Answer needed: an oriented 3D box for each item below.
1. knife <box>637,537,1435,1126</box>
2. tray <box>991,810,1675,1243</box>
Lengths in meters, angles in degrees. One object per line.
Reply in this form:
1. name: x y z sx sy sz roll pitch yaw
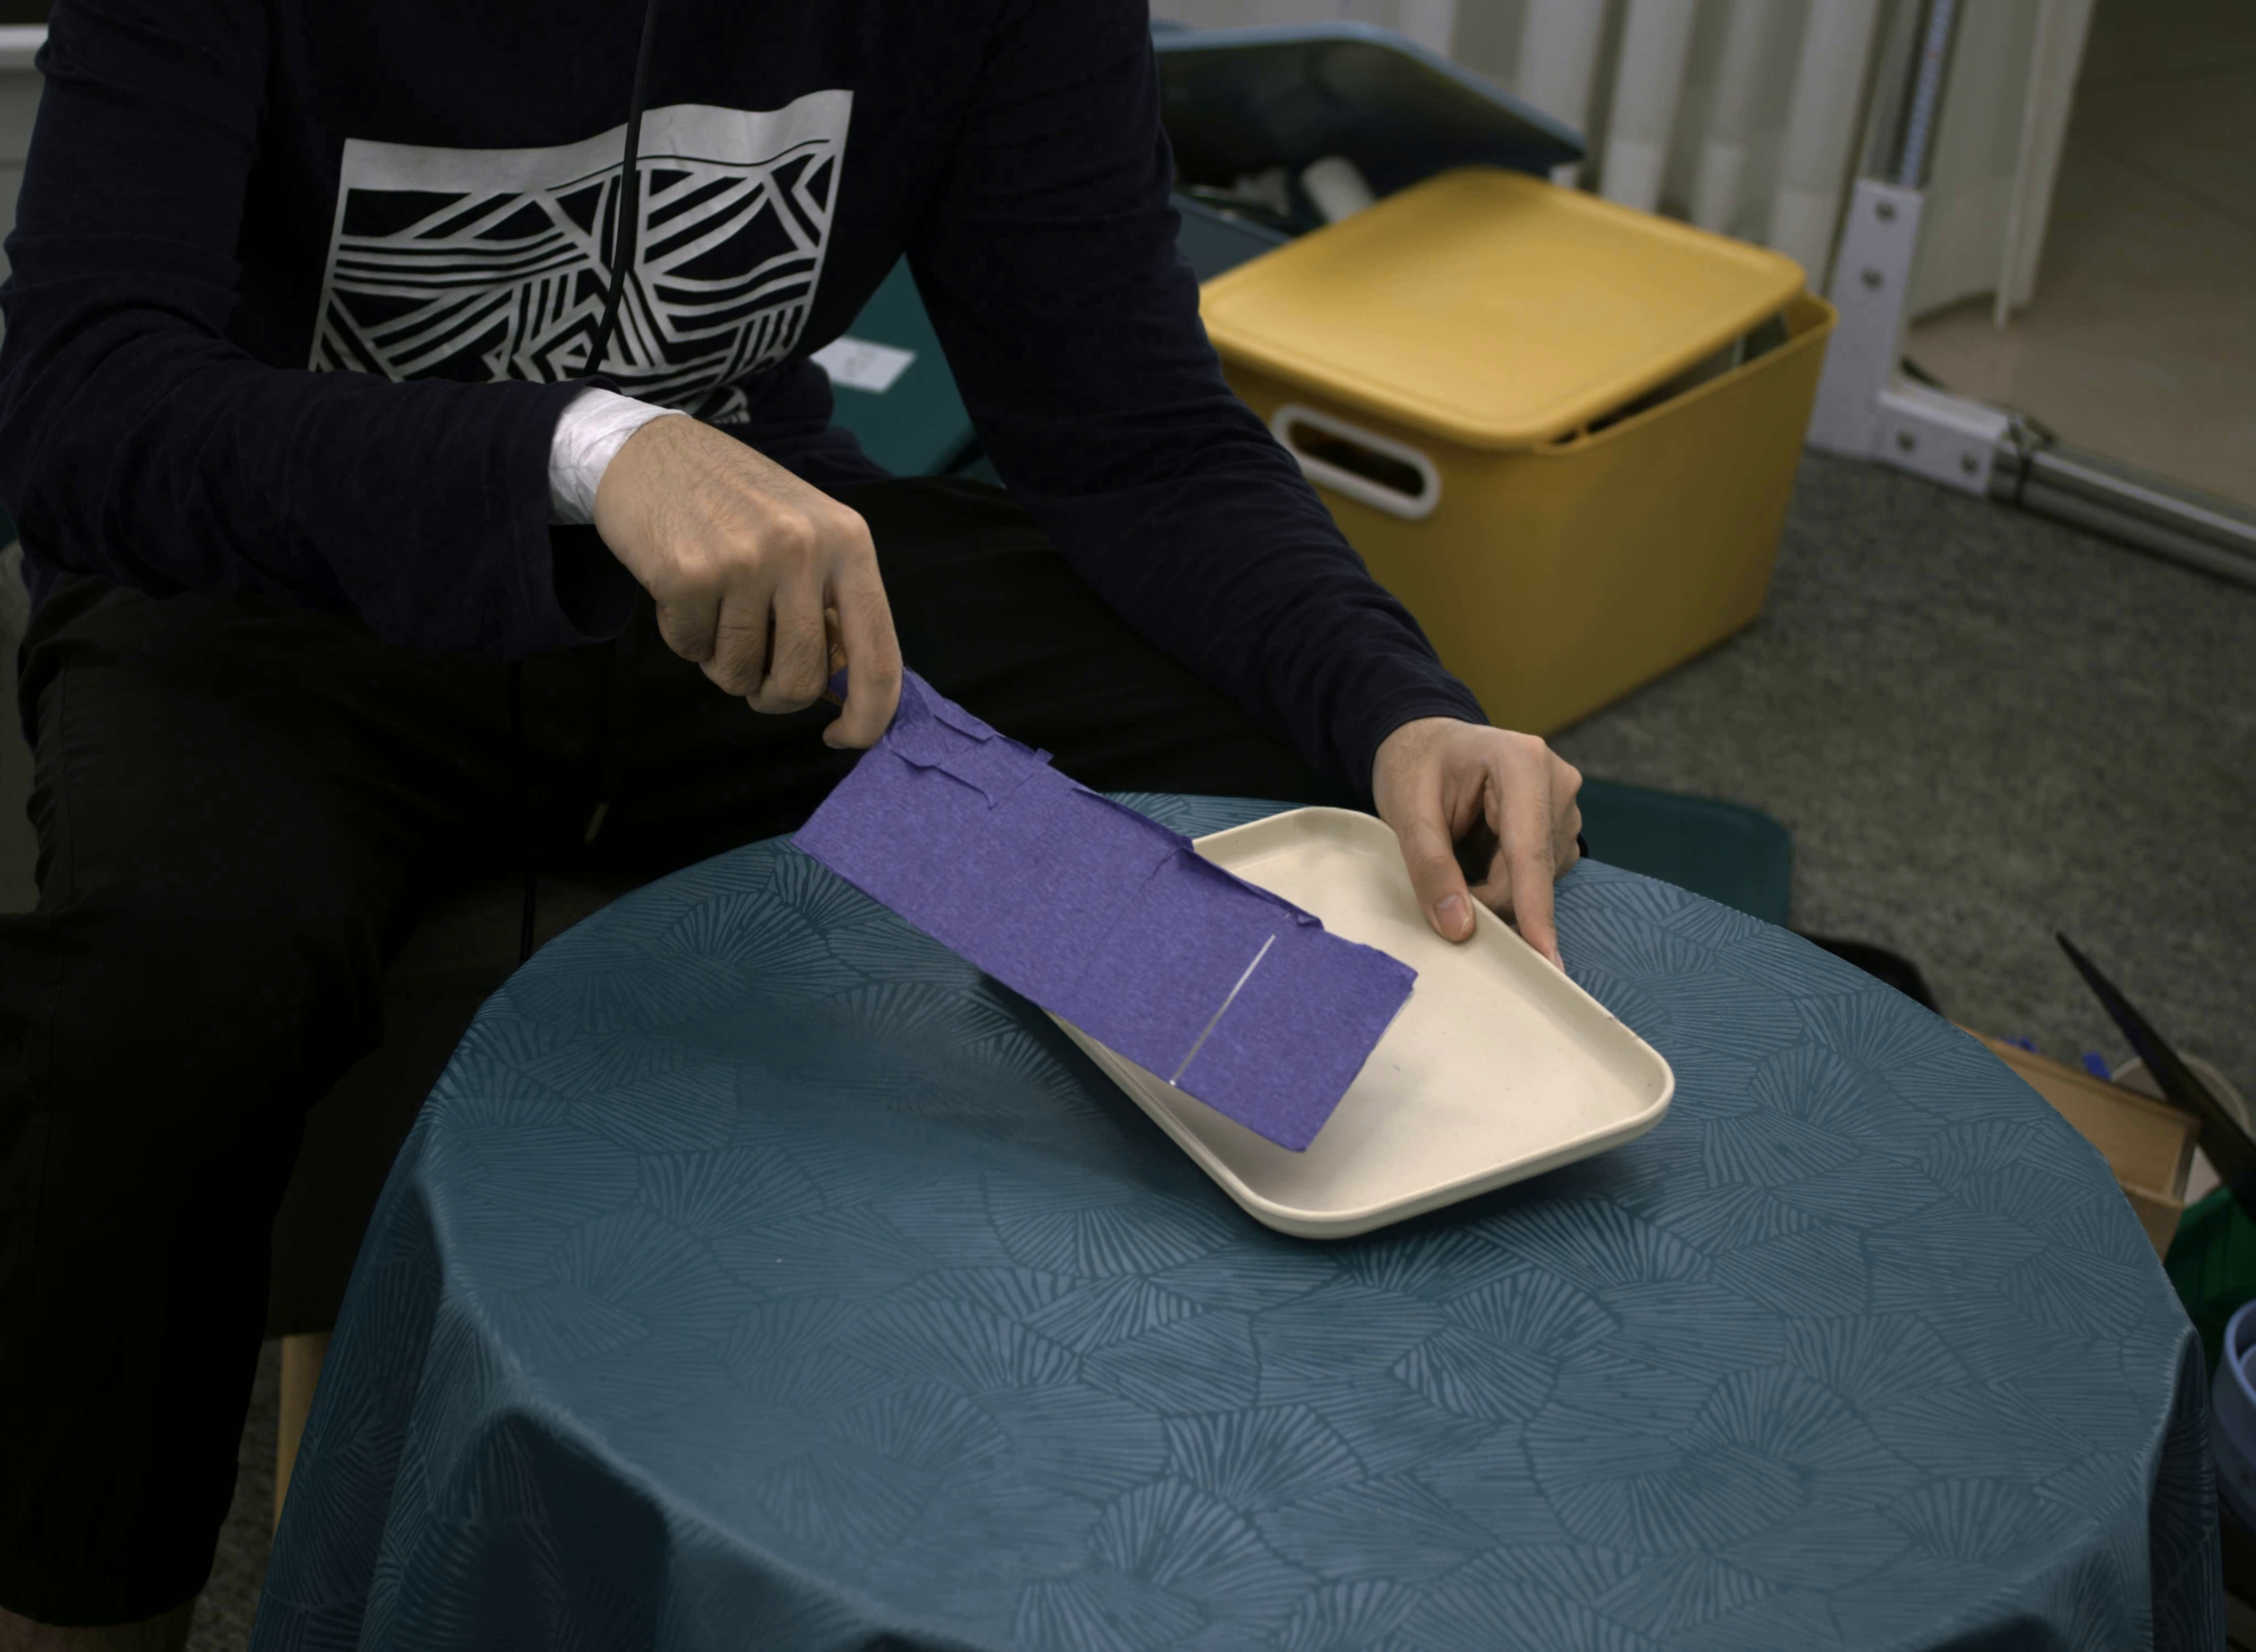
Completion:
1. knife: -0.049 0.001 1.837 0.316 0.032 0.104 29 50 14
2. tray: 0.069 0.069 1.889 0.170 0.017 0.242 -17 34 -23
